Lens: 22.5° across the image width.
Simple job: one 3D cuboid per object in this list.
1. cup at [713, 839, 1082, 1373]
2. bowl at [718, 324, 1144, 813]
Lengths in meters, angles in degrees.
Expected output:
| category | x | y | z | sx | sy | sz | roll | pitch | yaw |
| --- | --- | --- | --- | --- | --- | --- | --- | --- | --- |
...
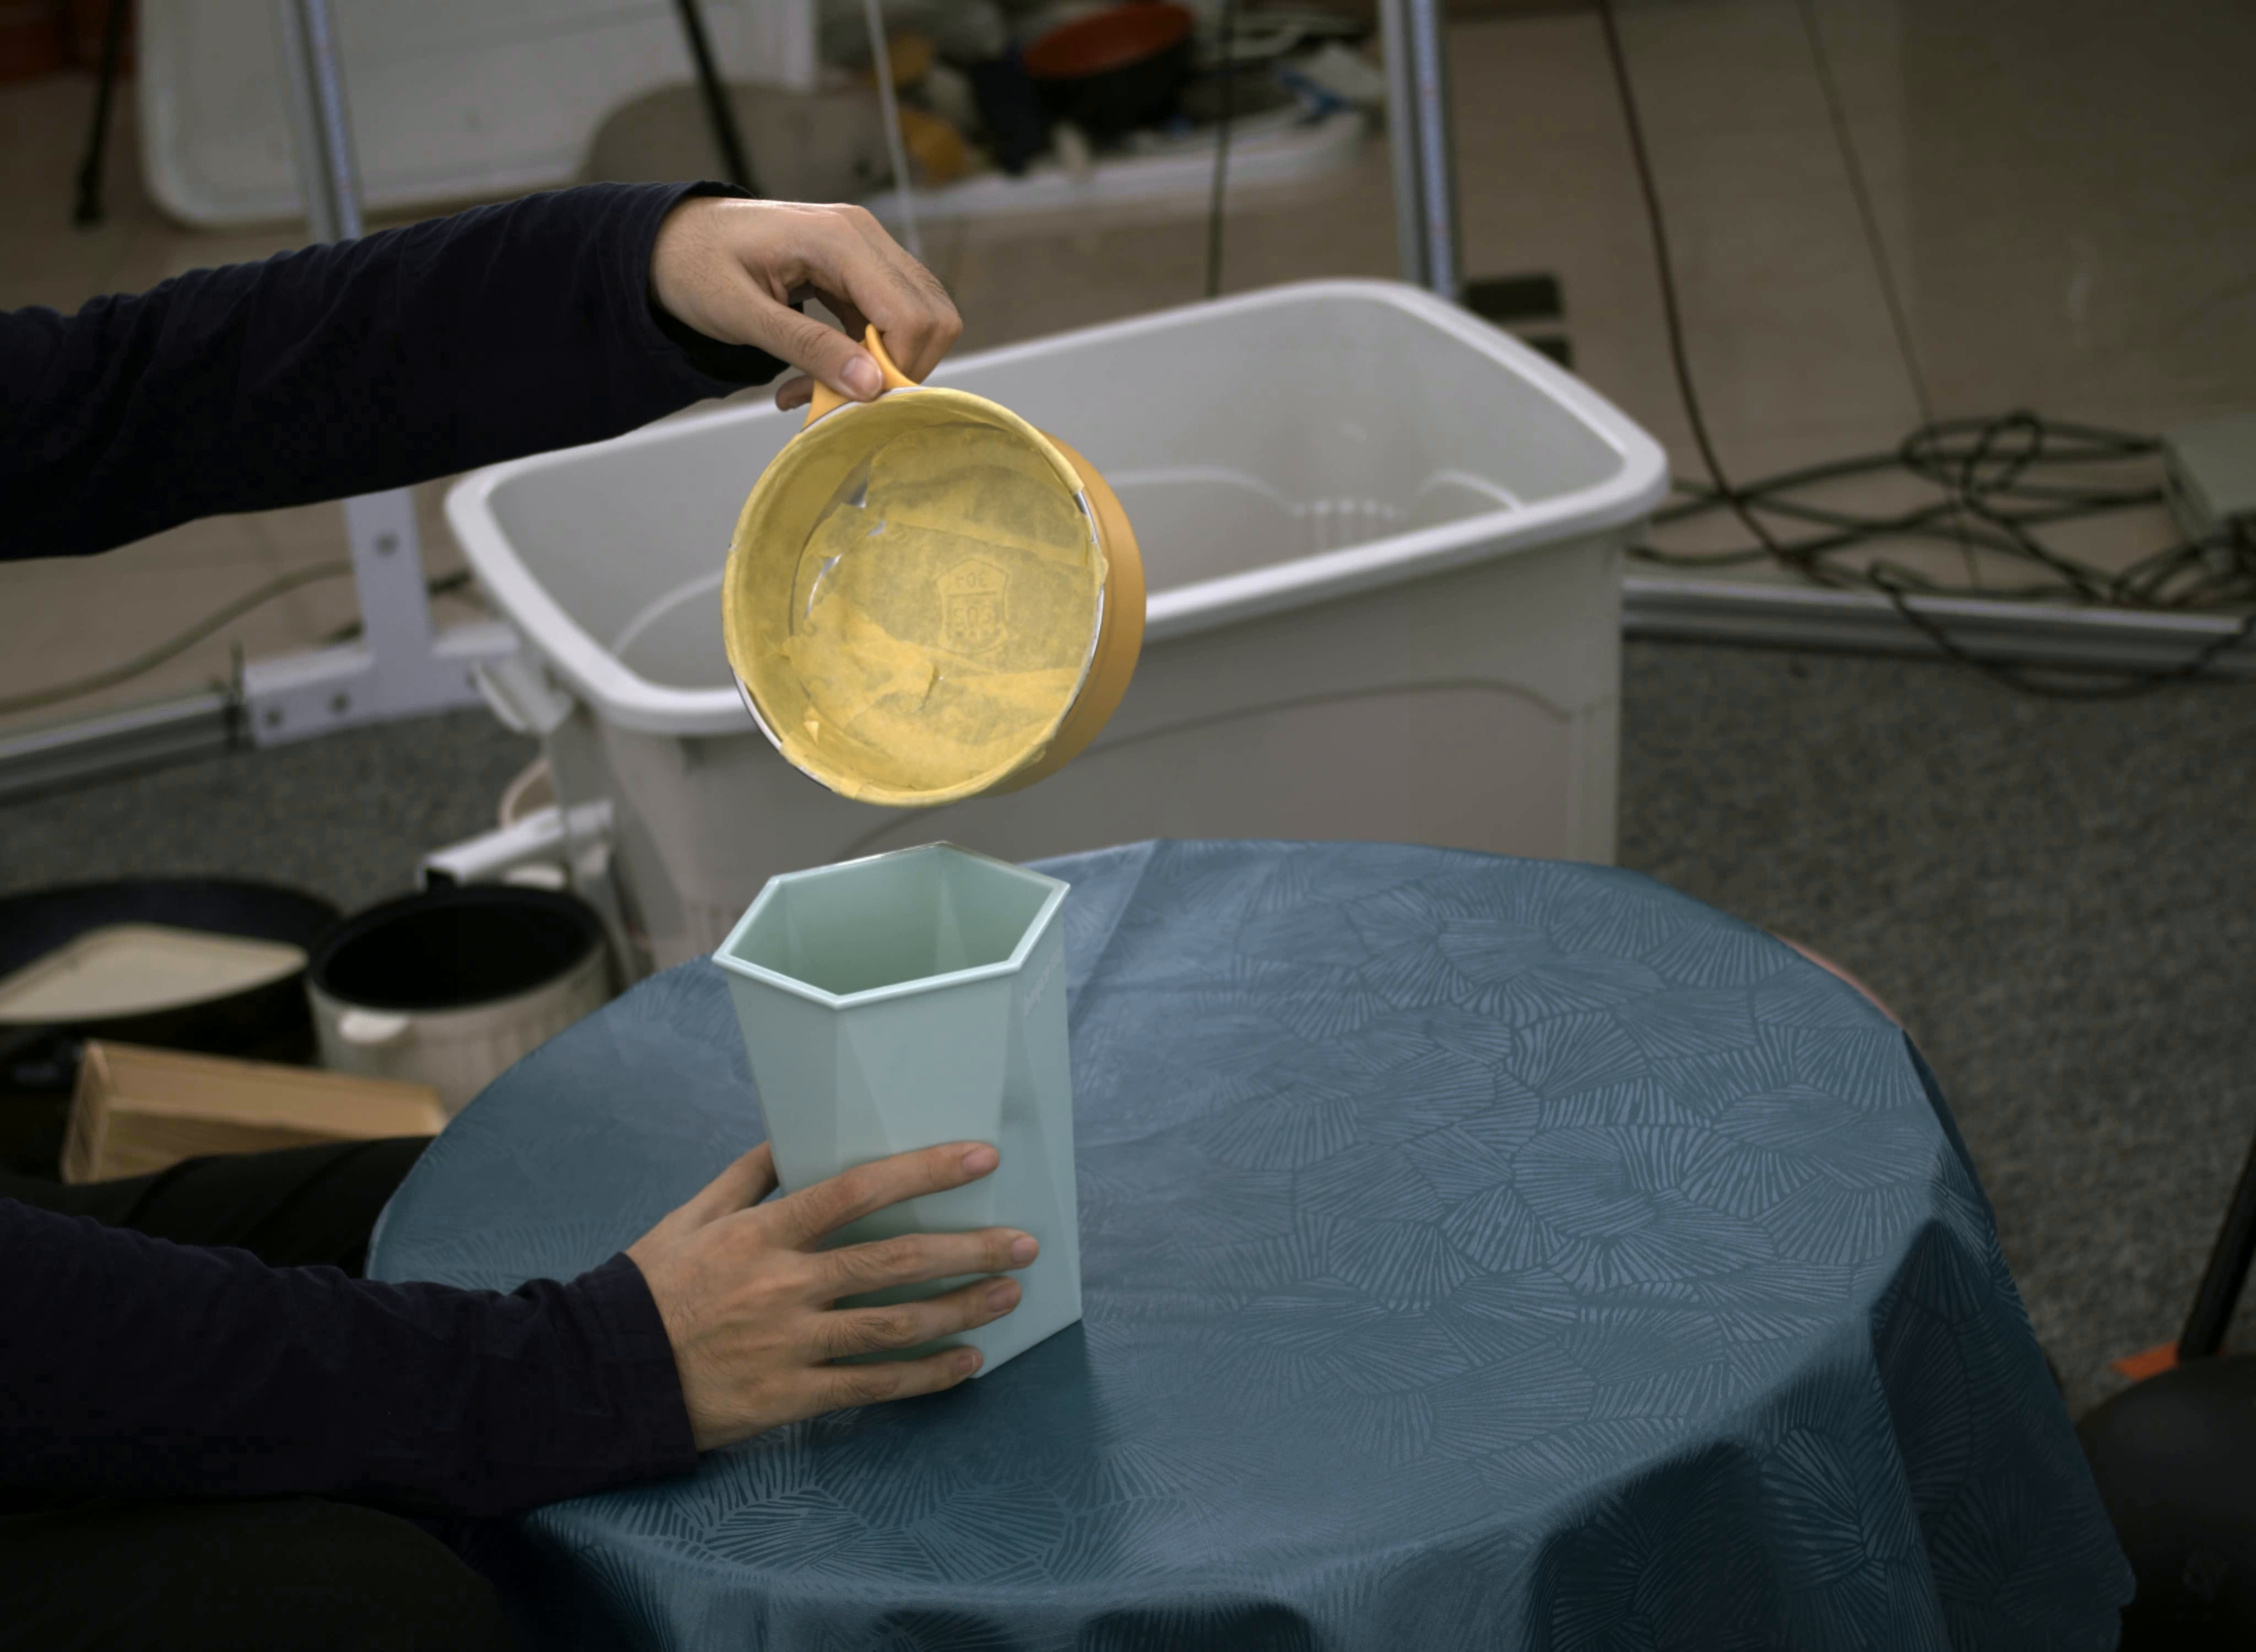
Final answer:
| category | x | y | z | sx | sy | sz | roll | pitch | yaw |
| --- | --- | --- | --- | --- | --- | --- | --- | --- | --- |
| cup | -0.074 | 0.104 | 2.044 | 0.115 | 0.165 | 0.129 | 0 | 25 | 16 |
| bowl | -0.069 | -0.094 | 2.058 | 0.153 | 0.178 | 0.074 | -23 | -9 | 25 |
